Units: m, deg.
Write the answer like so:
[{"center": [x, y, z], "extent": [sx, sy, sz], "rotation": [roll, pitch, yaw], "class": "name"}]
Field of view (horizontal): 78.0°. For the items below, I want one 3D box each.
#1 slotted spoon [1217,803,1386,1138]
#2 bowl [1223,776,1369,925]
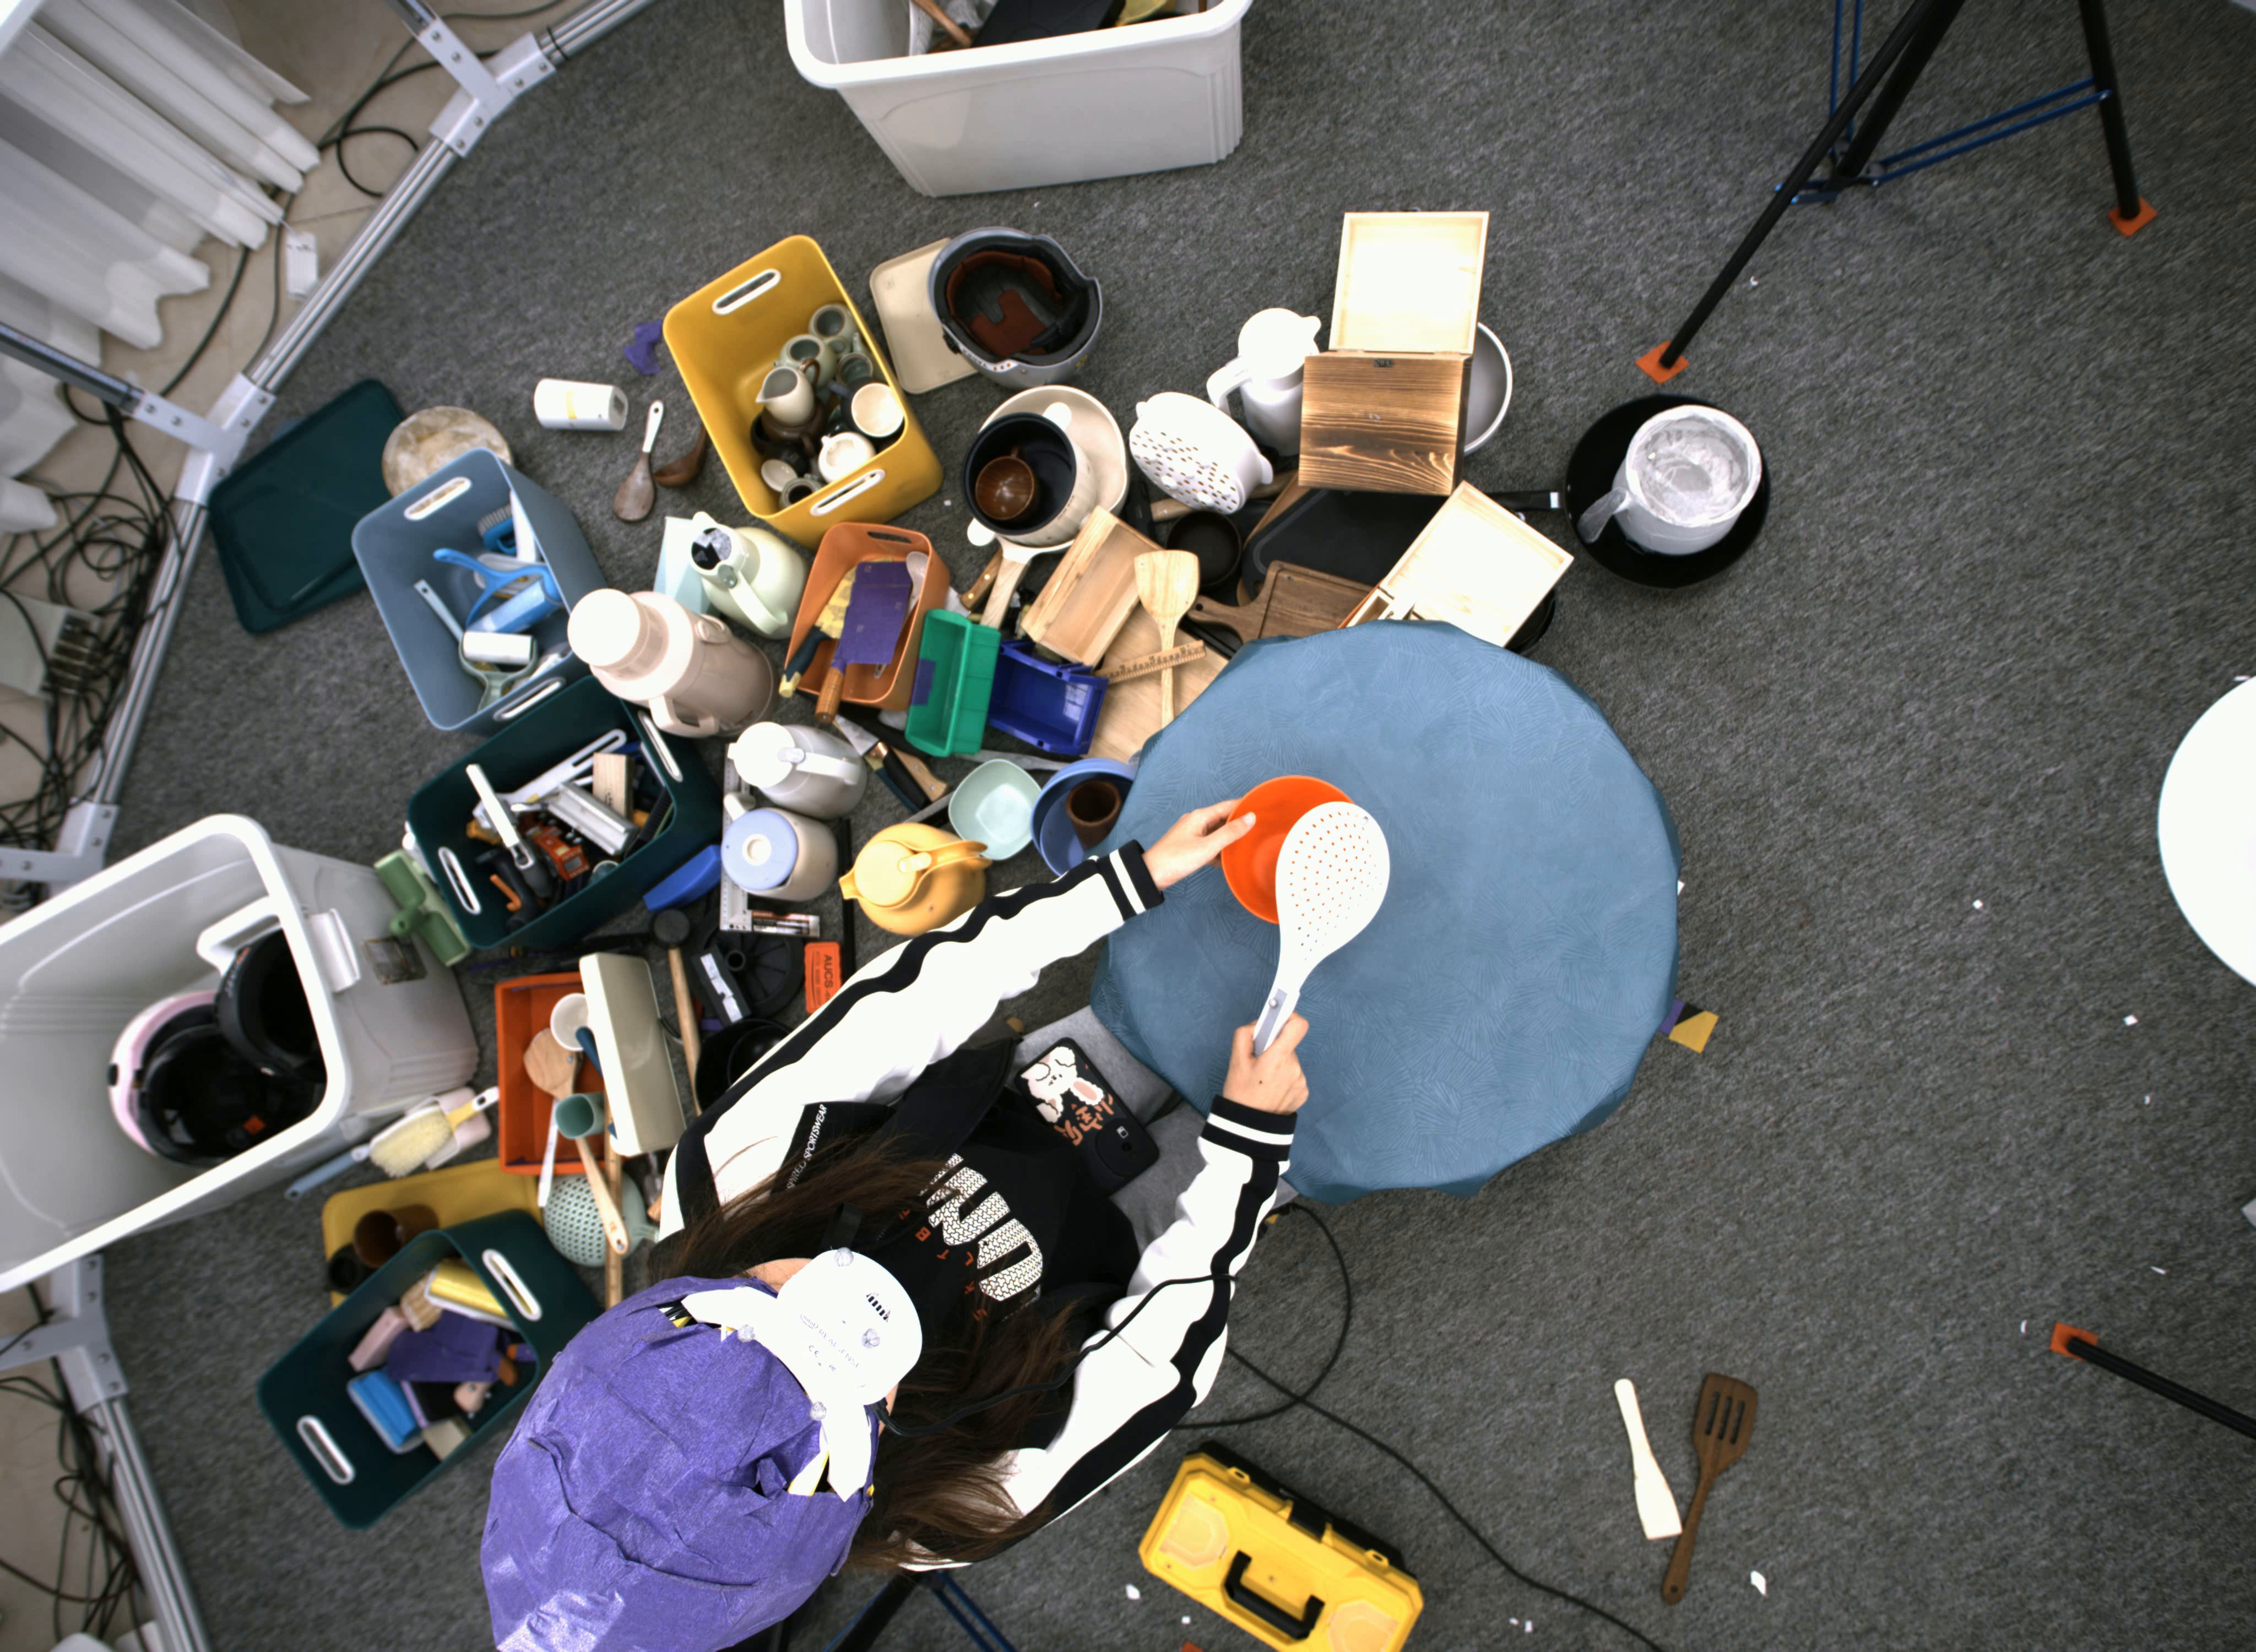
[{"center": [0.160, 0.145, 1.343], "extent": [0.135, 0.046, 0.353], "rotation": [37, 107, 50], "class": "slotted spoon"}, {"center": [0.165, 0.027, 1.401], "extent": [0.148, 0.105, 0.148], "rotation": [0, 89, -1], "class": "bowl"}]
